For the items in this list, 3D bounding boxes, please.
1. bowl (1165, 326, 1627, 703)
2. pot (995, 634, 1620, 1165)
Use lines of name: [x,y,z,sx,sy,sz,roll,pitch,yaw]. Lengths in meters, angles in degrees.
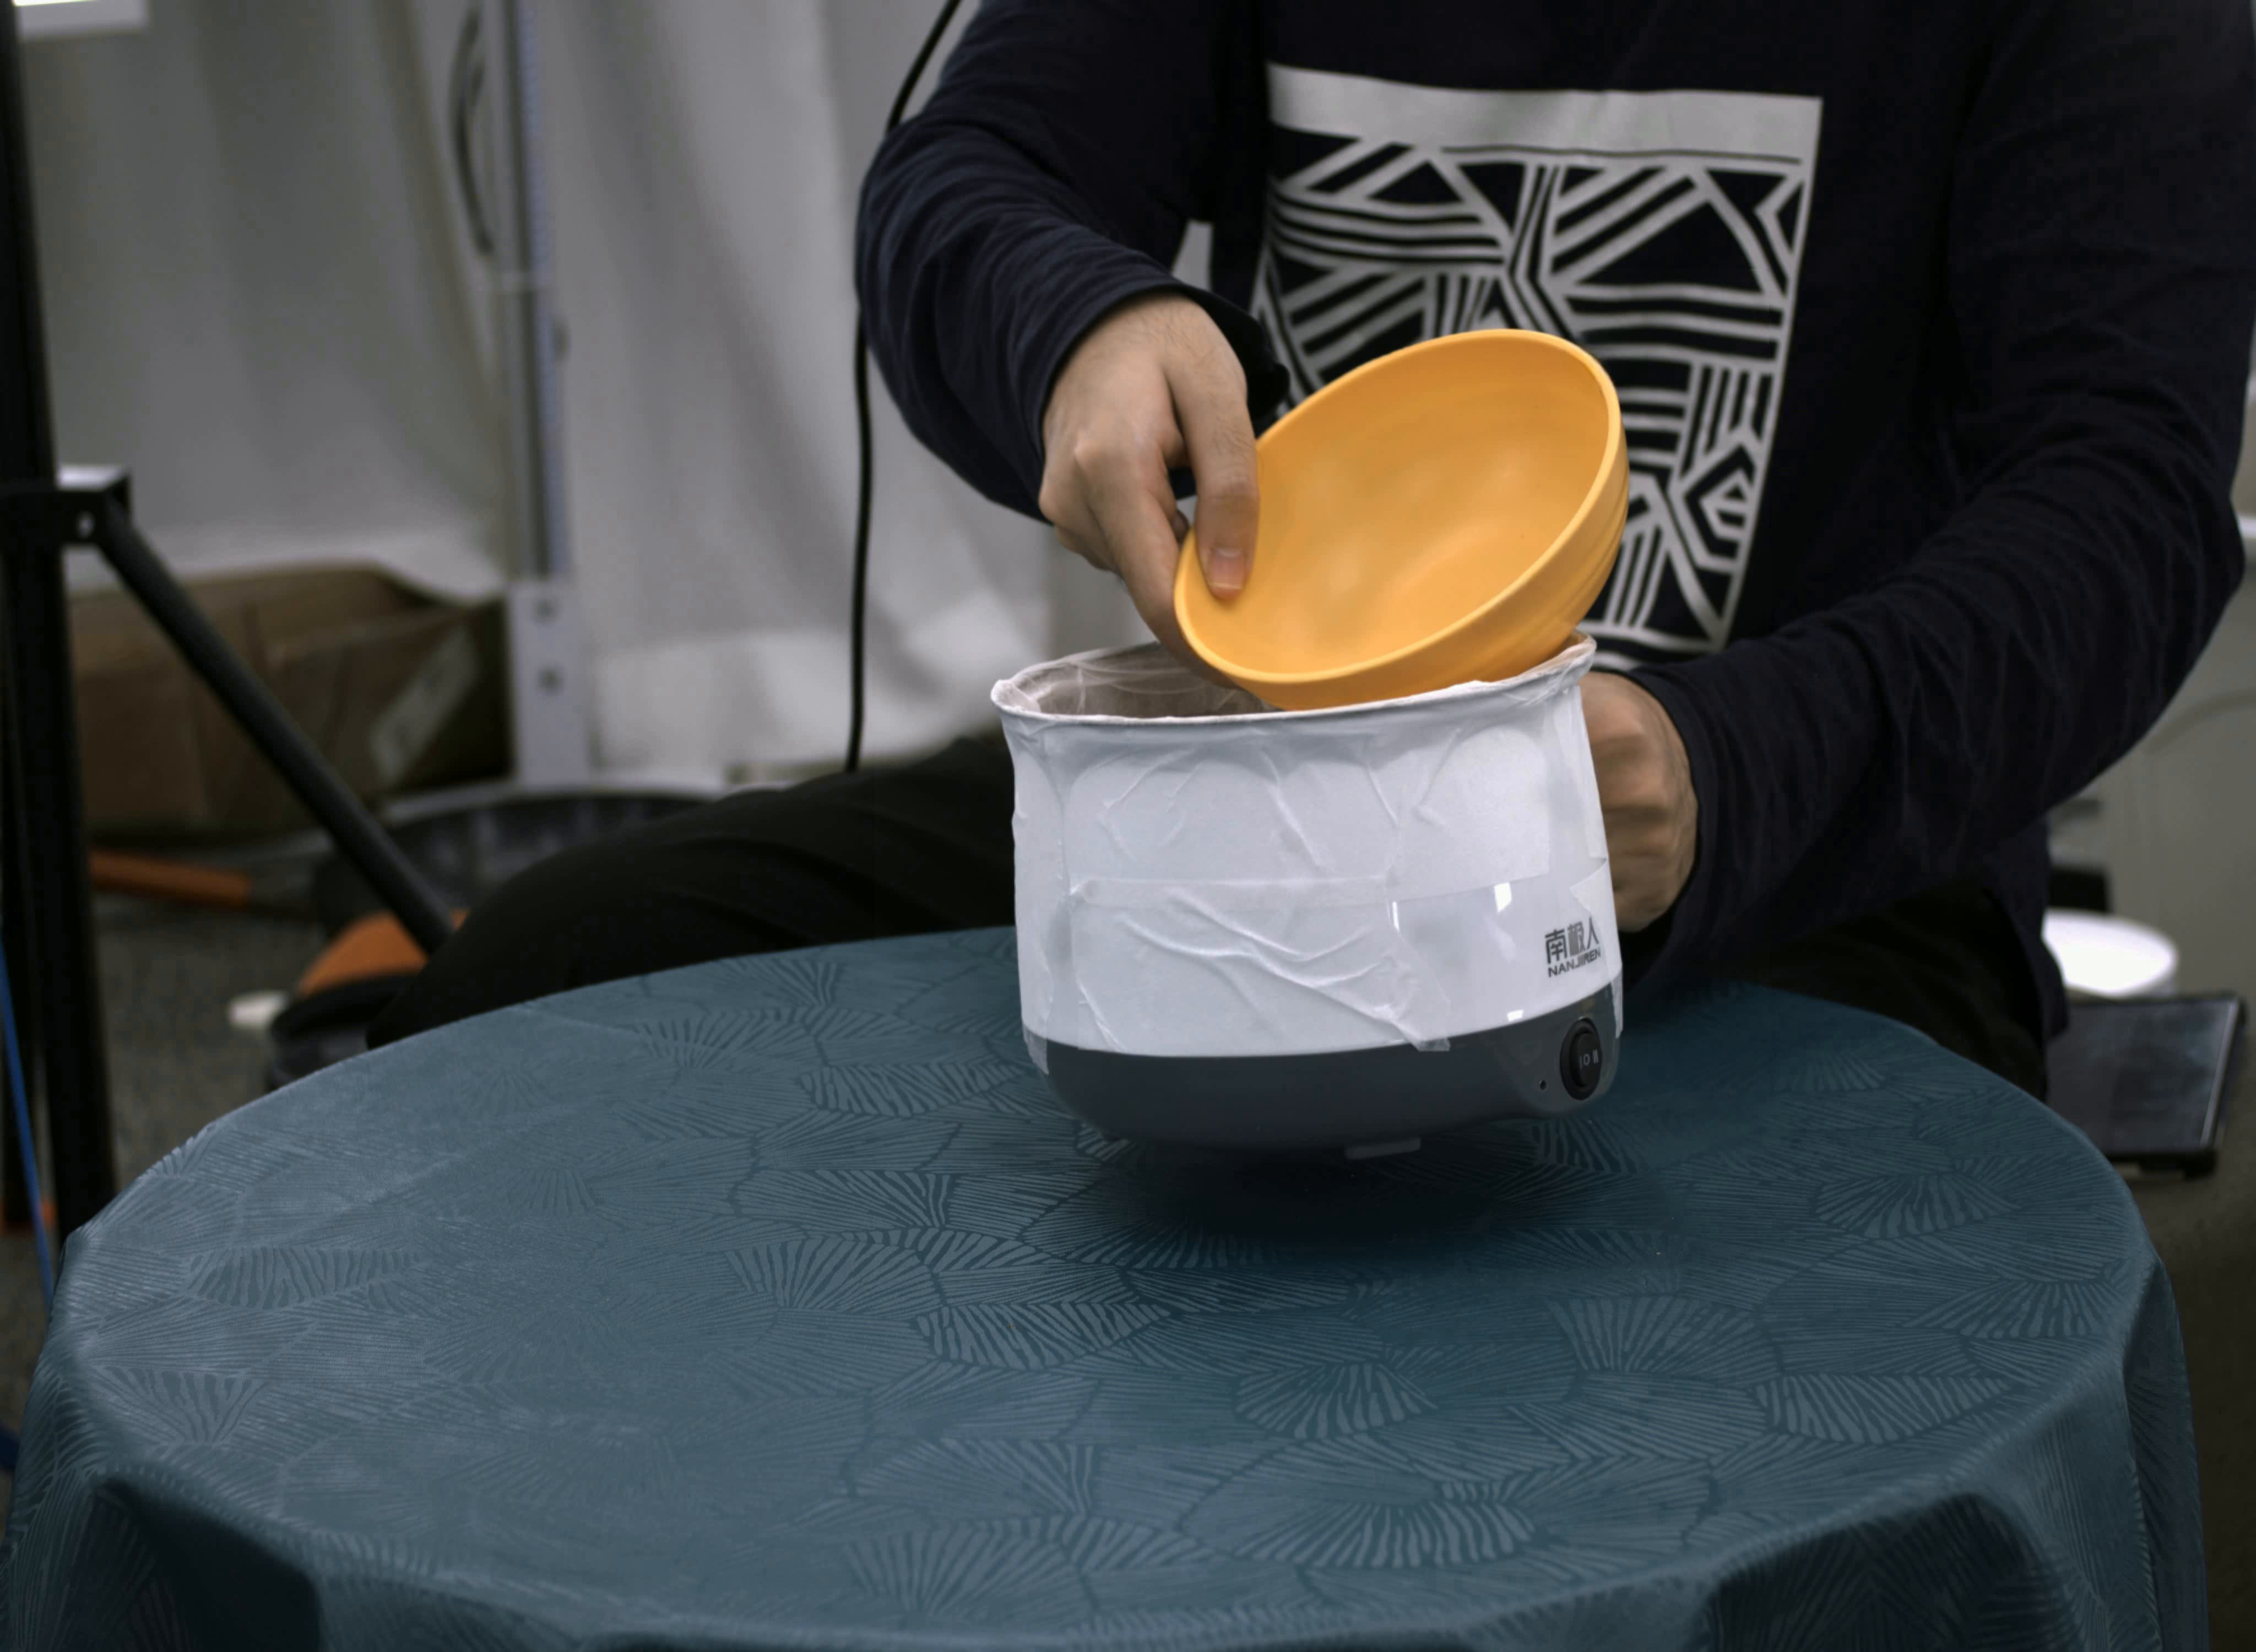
bowl: [0.088,-0.076,1.565,0.146,0.059,0.147,-21,37,15]
pot: [0.069,0.014,1.574,0.182,0.137,0.229,1,10,35]
